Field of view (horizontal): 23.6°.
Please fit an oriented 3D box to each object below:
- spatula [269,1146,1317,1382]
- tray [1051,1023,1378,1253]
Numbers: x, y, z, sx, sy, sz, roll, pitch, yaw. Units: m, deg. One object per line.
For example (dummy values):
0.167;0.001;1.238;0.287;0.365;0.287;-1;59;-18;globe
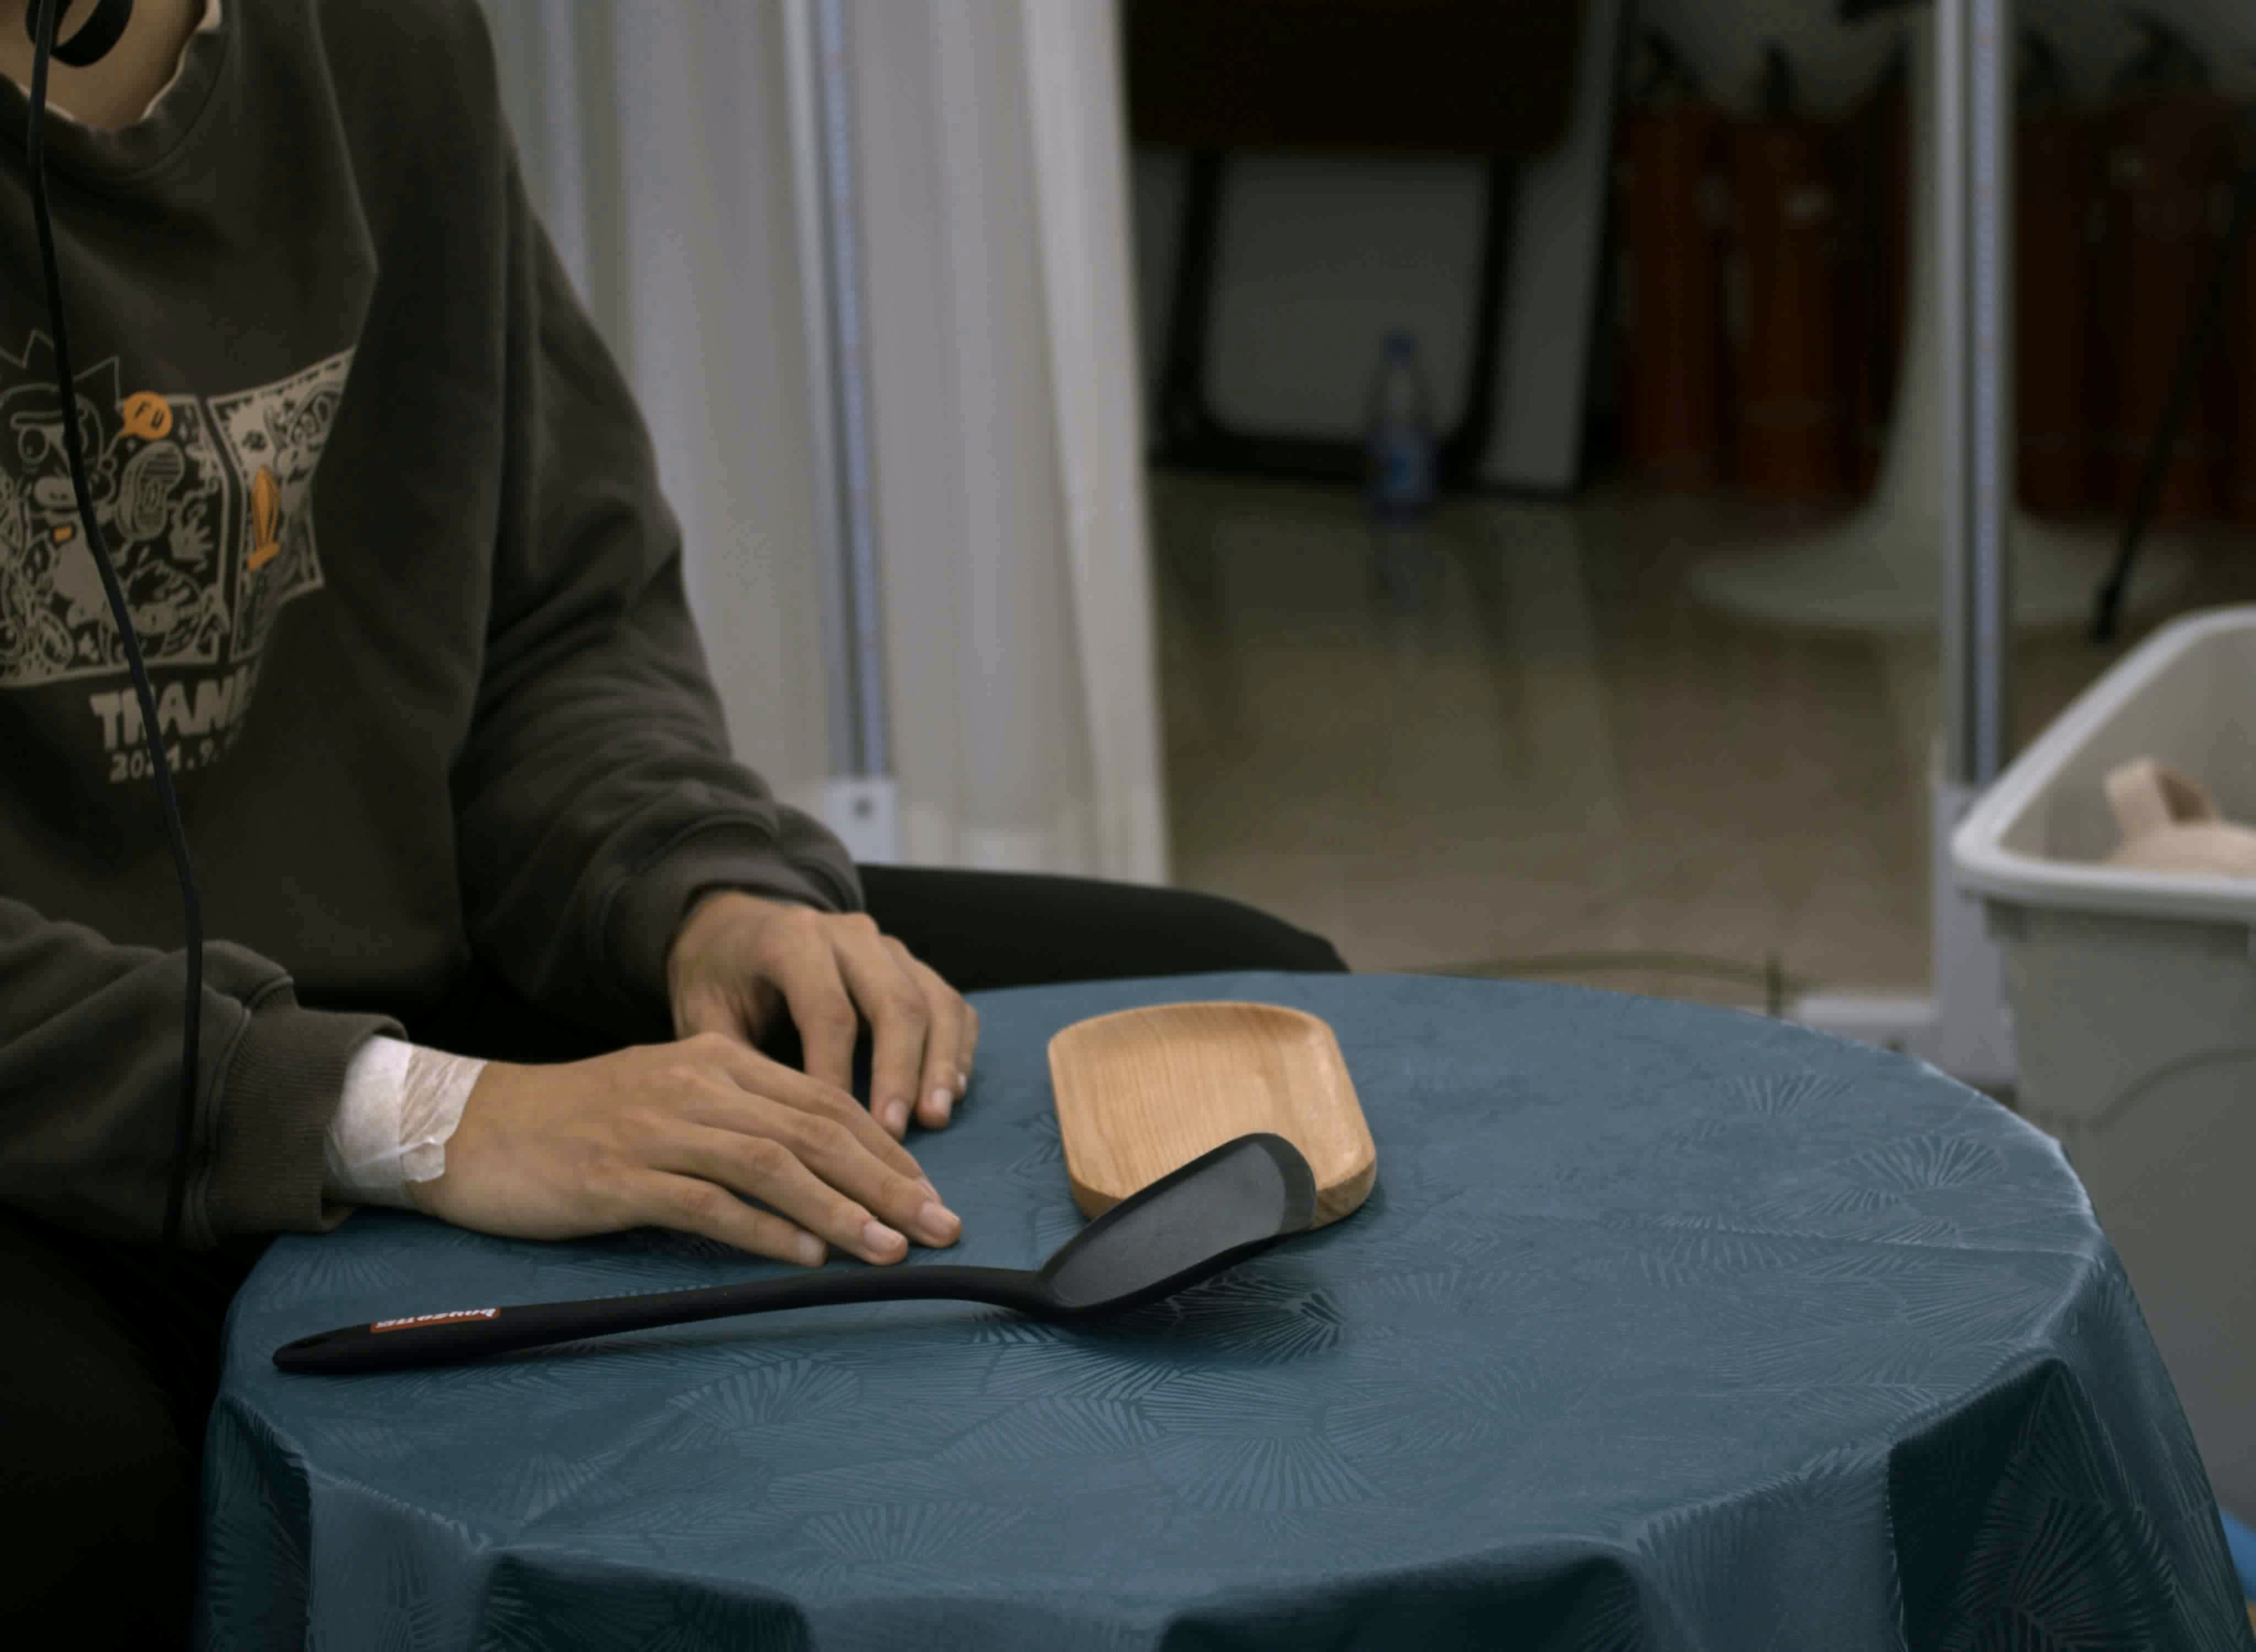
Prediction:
-0.102;0.140;1.654;0.321;0.041;0.100;-4;12;-1;spatula
0.028;0.103;1.813;0.100;0.020;0.232;-5;14;-2;tray
